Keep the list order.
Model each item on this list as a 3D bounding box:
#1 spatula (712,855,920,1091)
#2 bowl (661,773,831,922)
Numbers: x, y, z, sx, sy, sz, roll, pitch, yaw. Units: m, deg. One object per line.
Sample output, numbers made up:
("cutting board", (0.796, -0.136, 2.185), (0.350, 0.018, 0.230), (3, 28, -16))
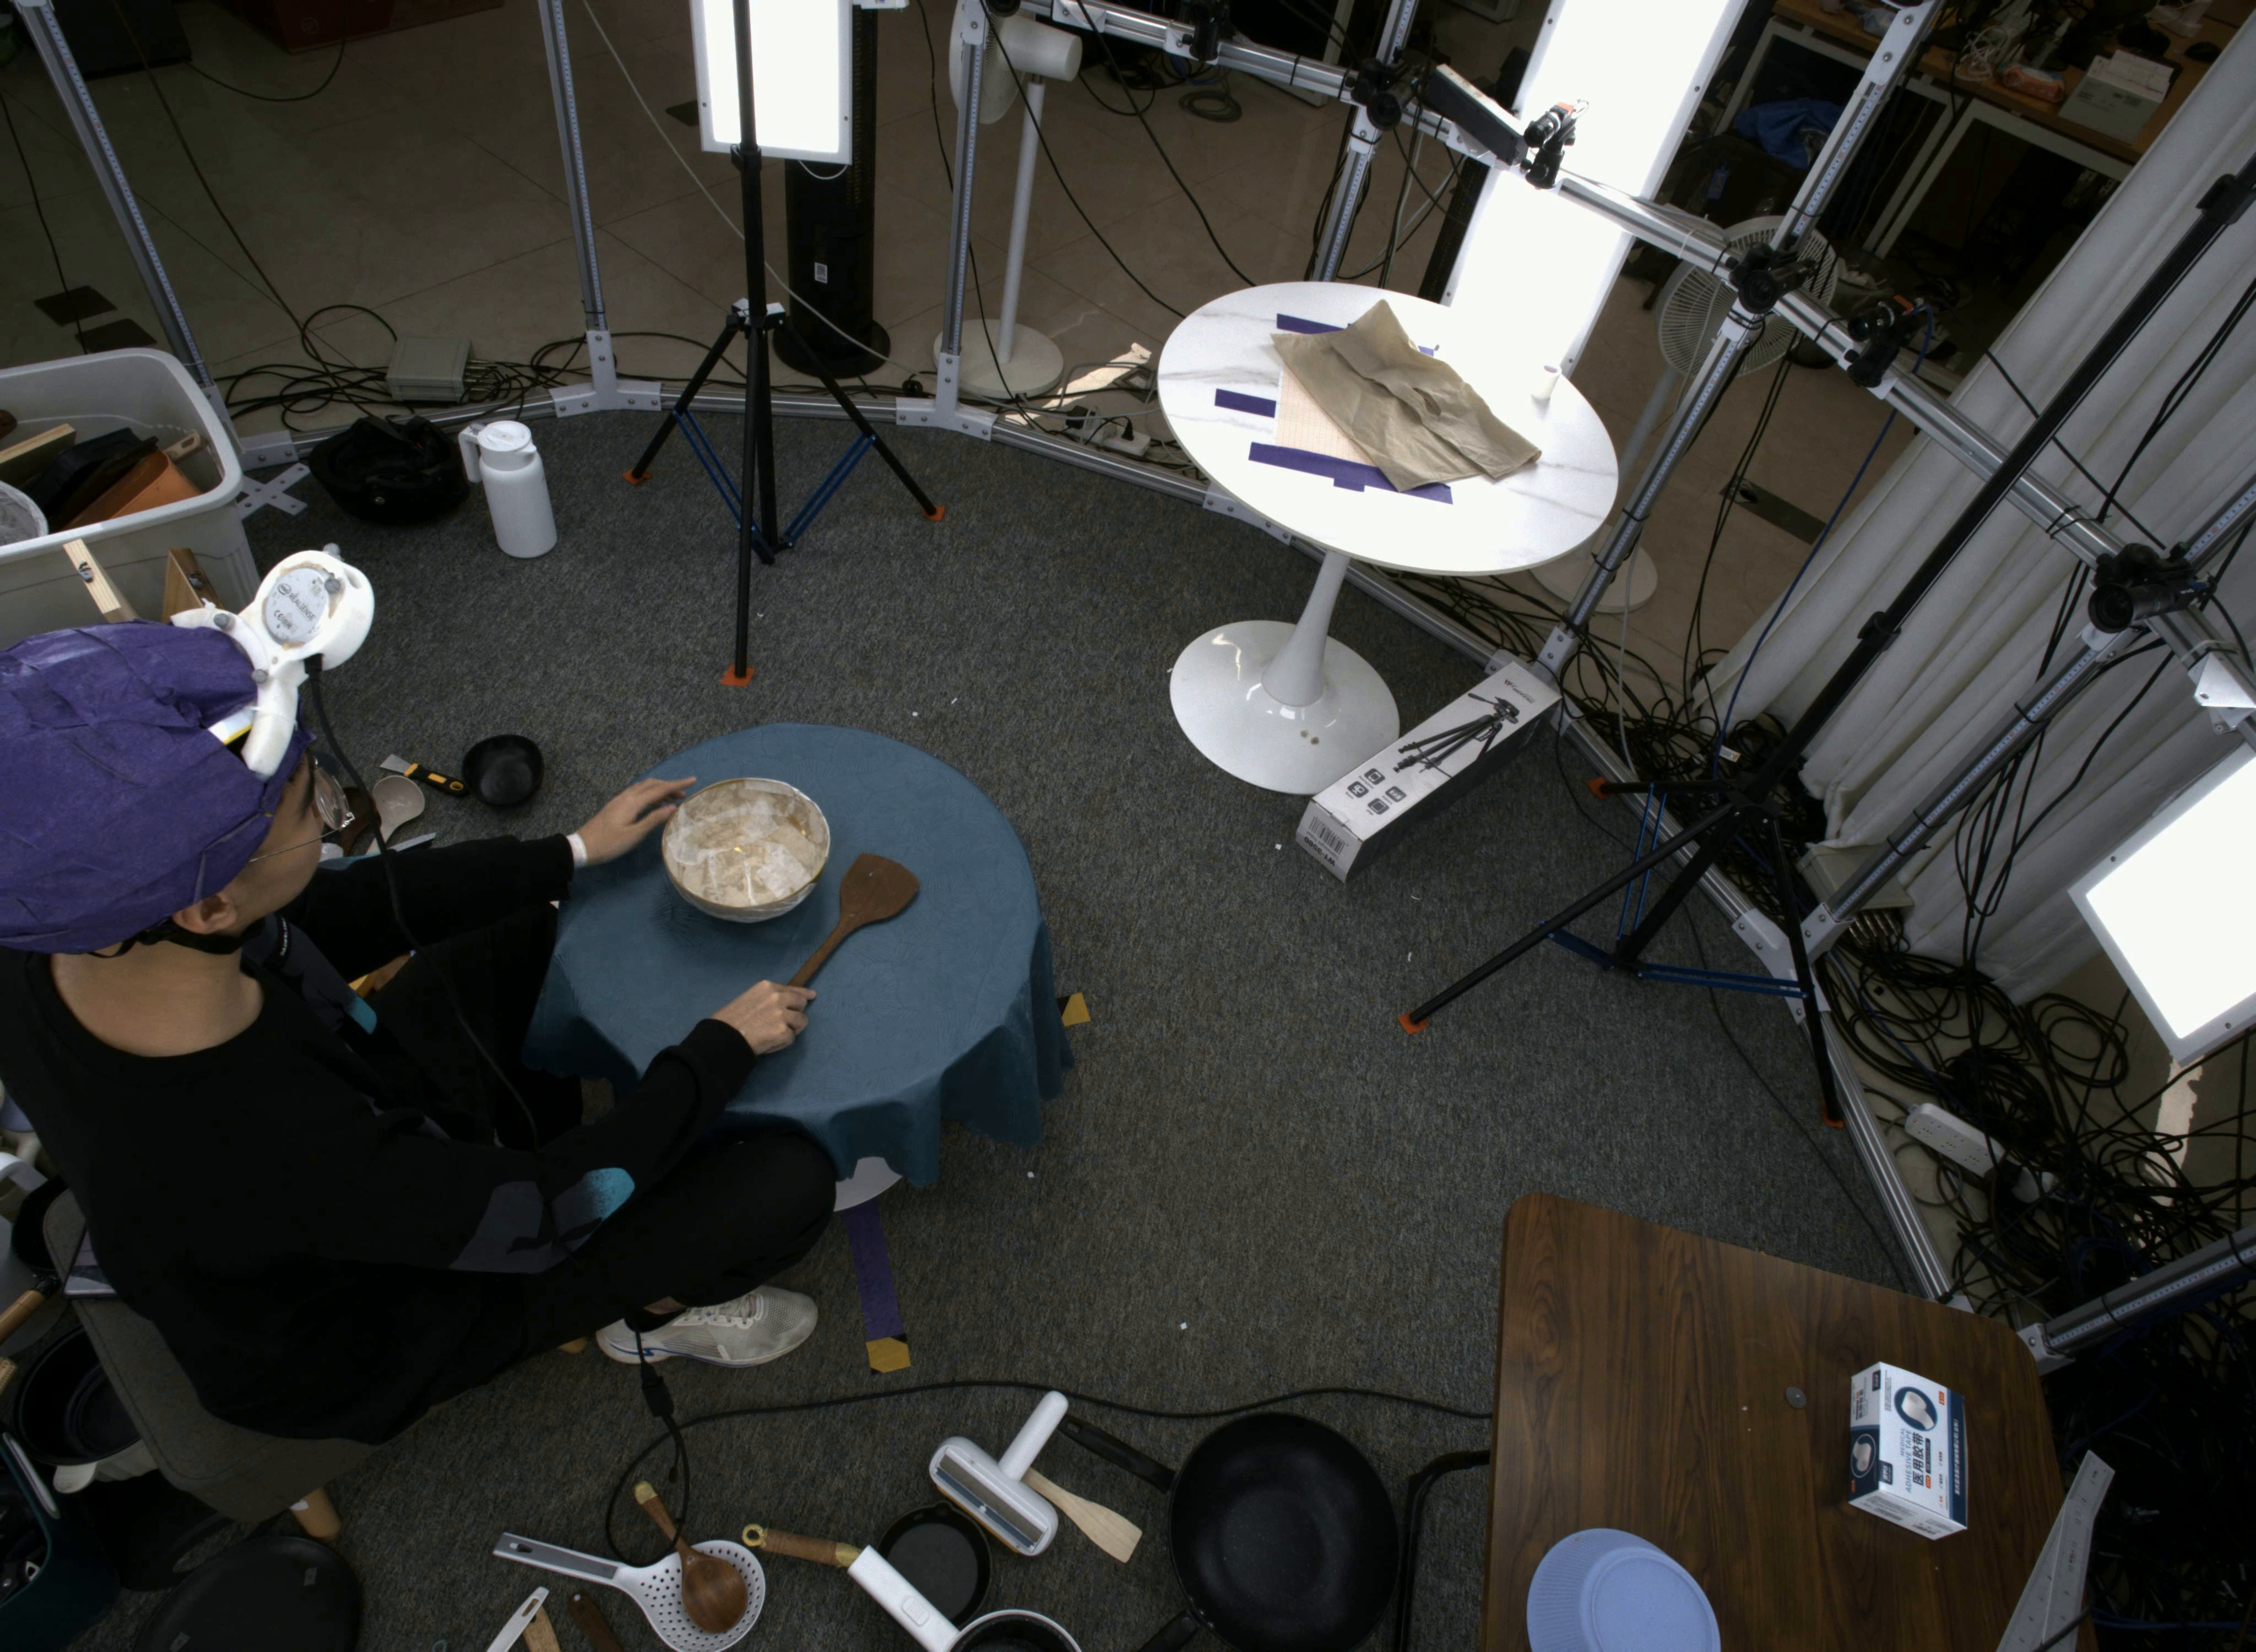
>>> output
("spatula", (-0.388, 0.172, 1.595), (0.094, 0.016, 0.384), (28, 50, 8))
("bowl", (-0.479, 0.041, 1.623), (0.214, 0.096, 0.211), (8, 54, -9))
